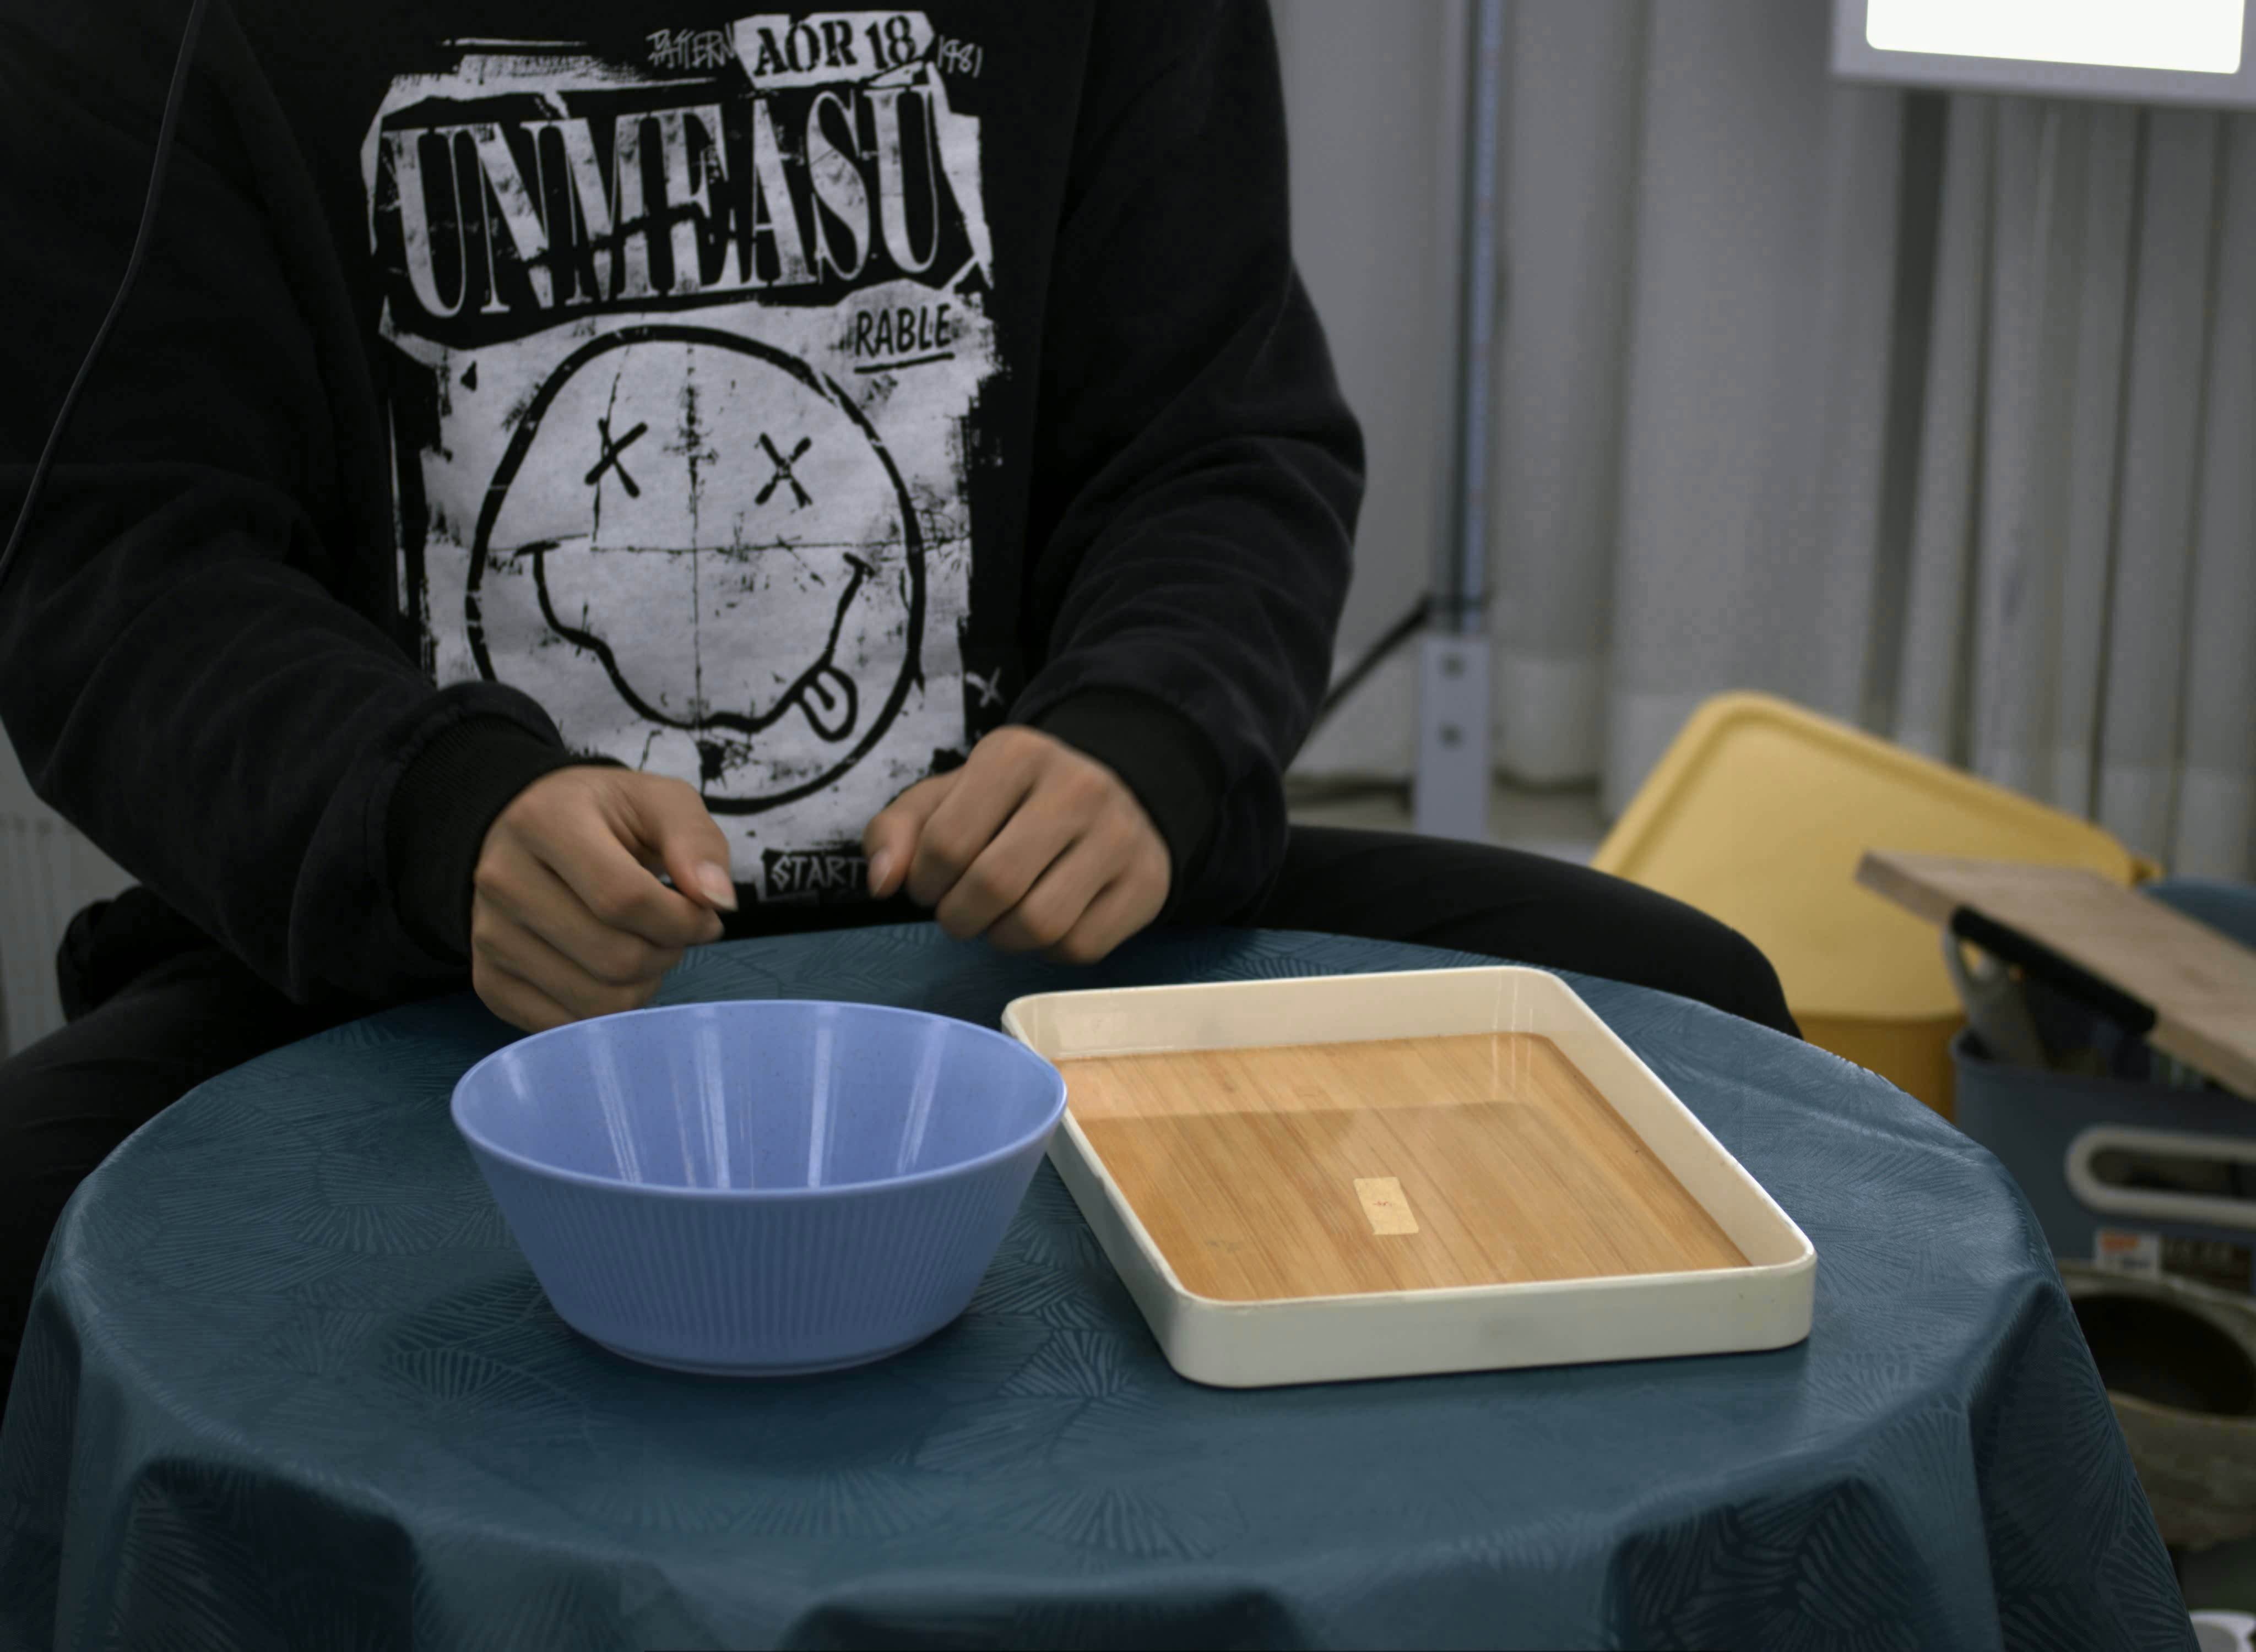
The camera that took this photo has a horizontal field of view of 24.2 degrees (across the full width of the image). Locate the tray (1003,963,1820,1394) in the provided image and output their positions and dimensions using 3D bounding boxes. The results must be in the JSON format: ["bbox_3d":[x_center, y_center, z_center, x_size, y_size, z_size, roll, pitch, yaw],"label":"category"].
[{"bbox_3d":[0.079,0.103,1.617,0.191,0.027,0.297,-3,17,-12],"label":"tray"}]

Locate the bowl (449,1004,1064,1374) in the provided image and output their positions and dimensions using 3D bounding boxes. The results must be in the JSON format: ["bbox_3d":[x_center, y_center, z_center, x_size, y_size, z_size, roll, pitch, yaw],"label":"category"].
[{"bbox_3d":[-0.107,0.106,1.512,0.175,0.071,0.175,2,16,0],"label":"bowl"}]
